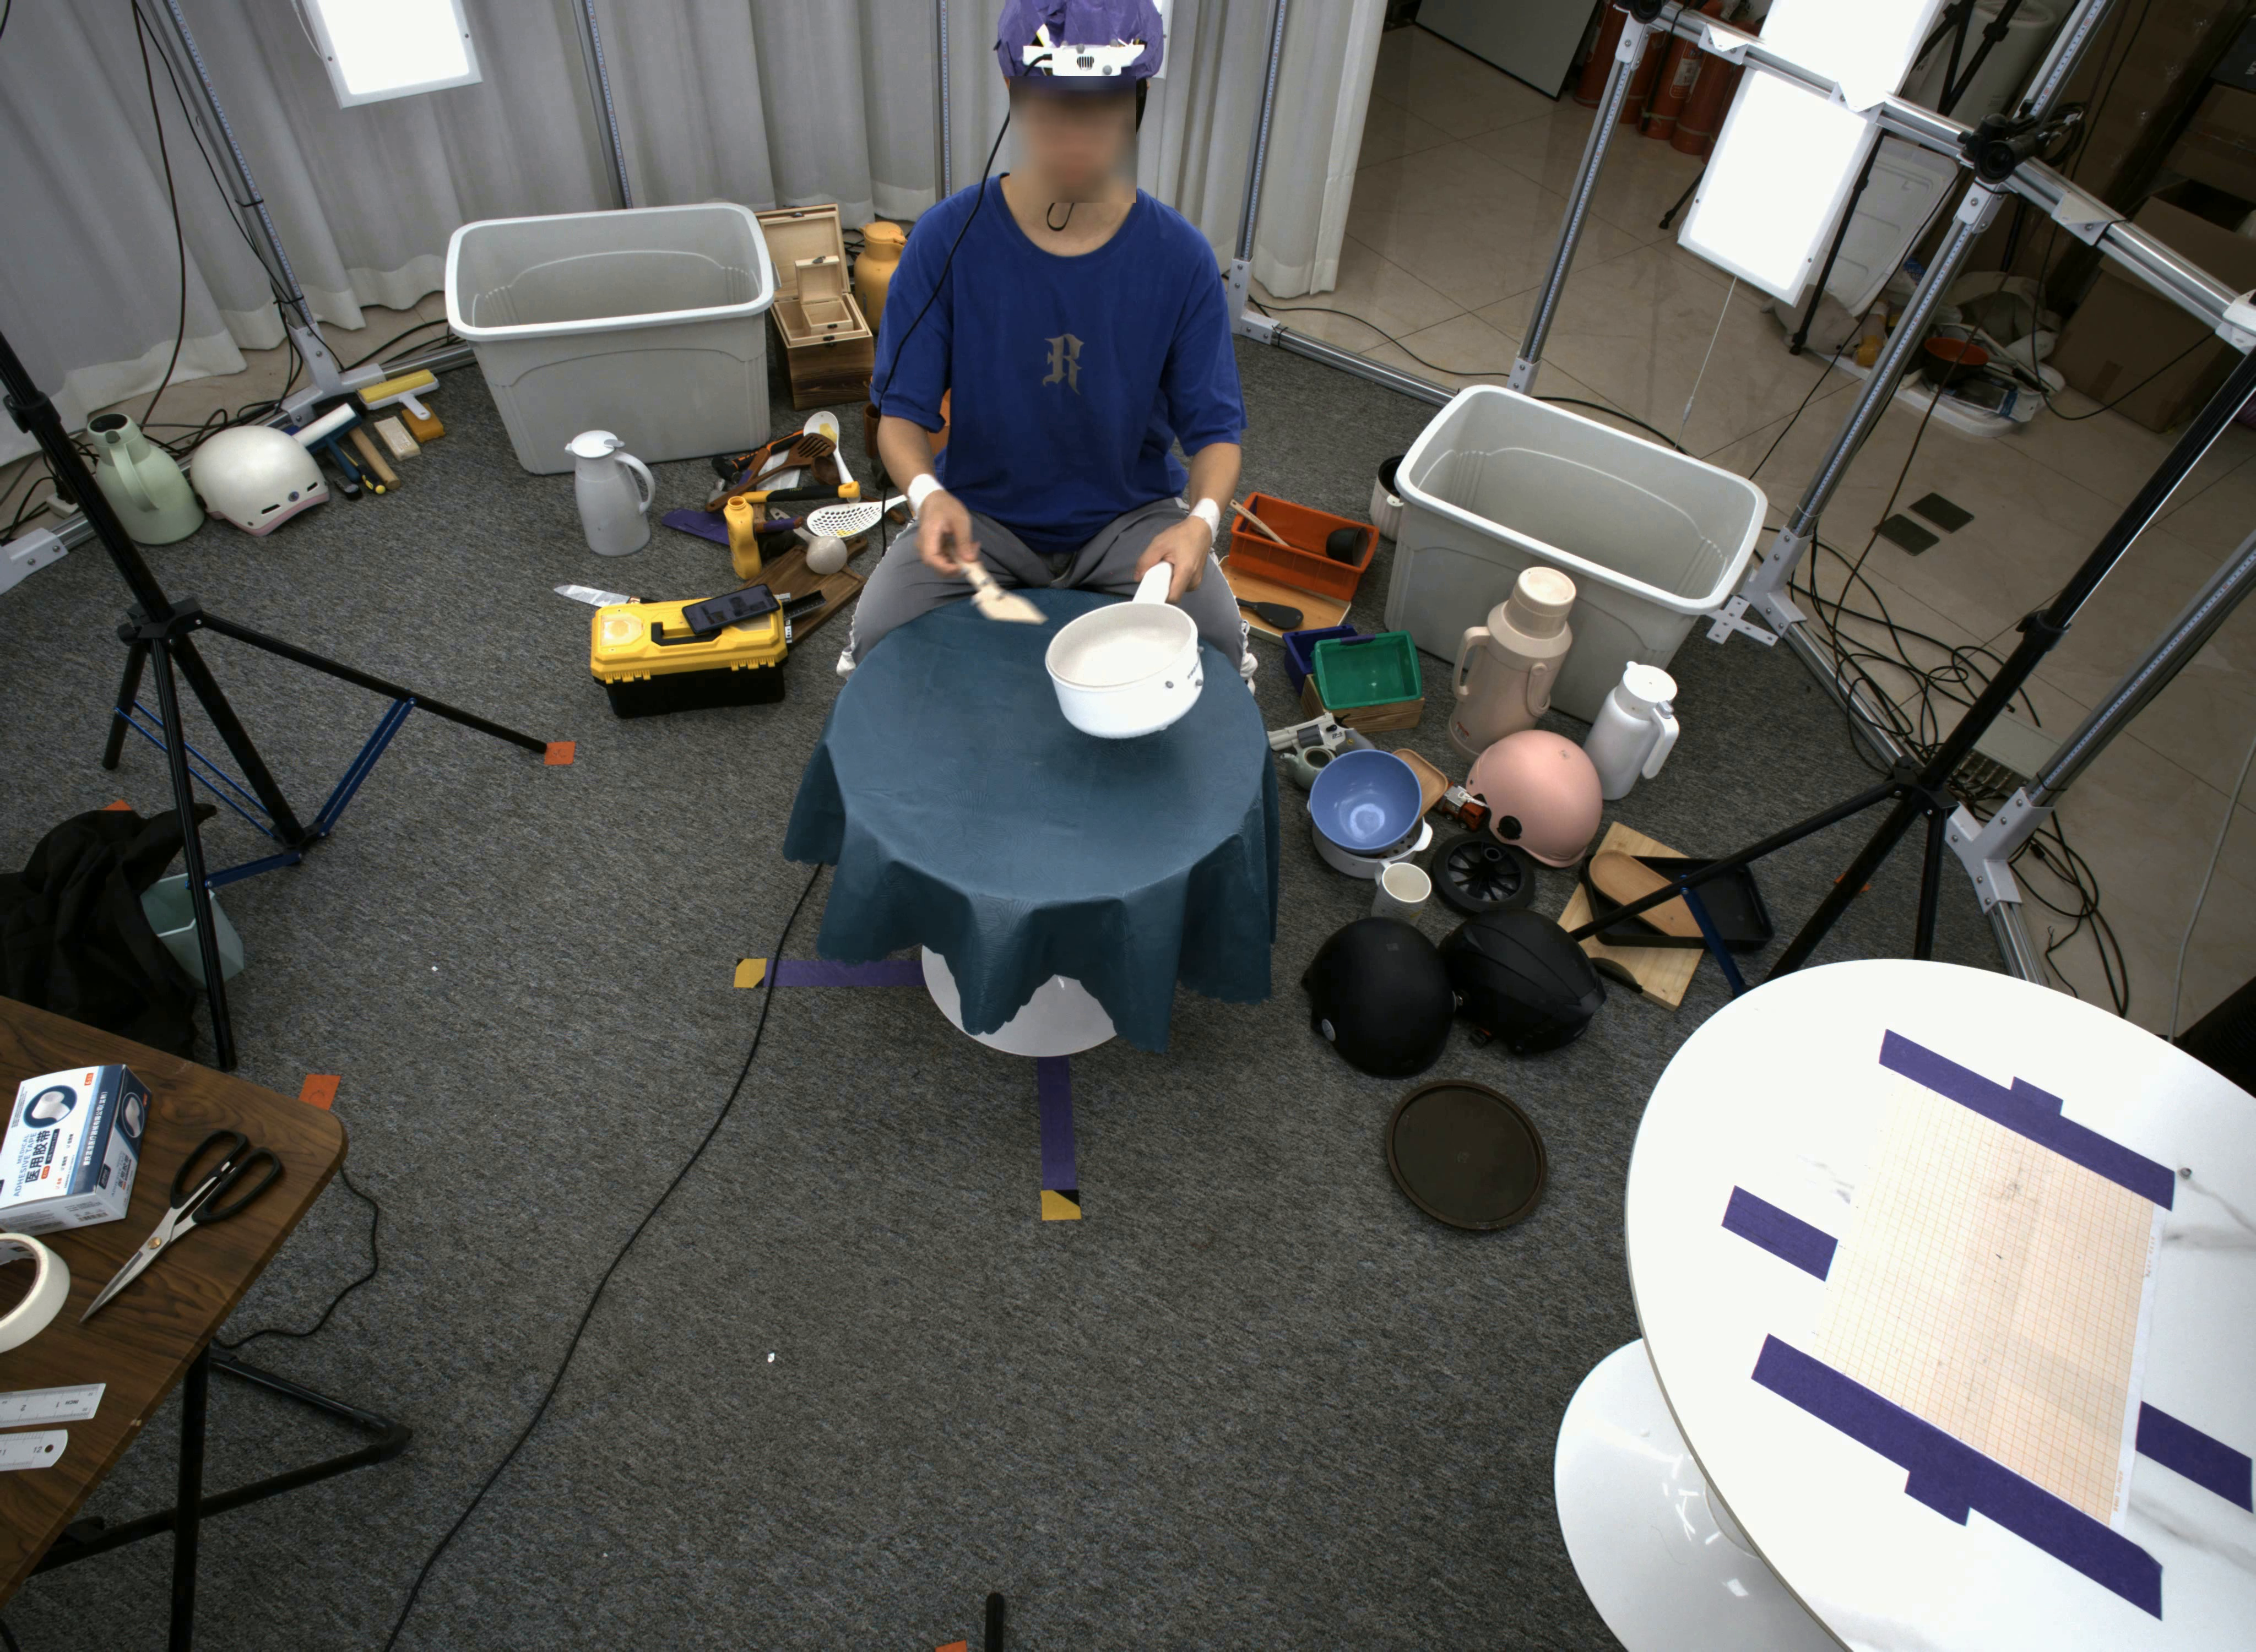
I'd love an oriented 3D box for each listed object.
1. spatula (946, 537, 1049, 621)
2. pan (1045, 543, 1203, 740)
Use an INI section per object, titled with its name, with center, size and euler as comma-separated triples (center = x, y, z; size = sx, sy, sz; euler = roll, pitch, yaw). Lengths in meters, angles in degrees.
[spatula]
center = -0.186, -0.327, 1.698
size = 0.072, 0.010, 0.299
euler = -3, 32, -26
[pan]
center = 0.020, -0.252, 1.752
size = 0.202, 0.099, 0.362
euler = -1, 41, 21
